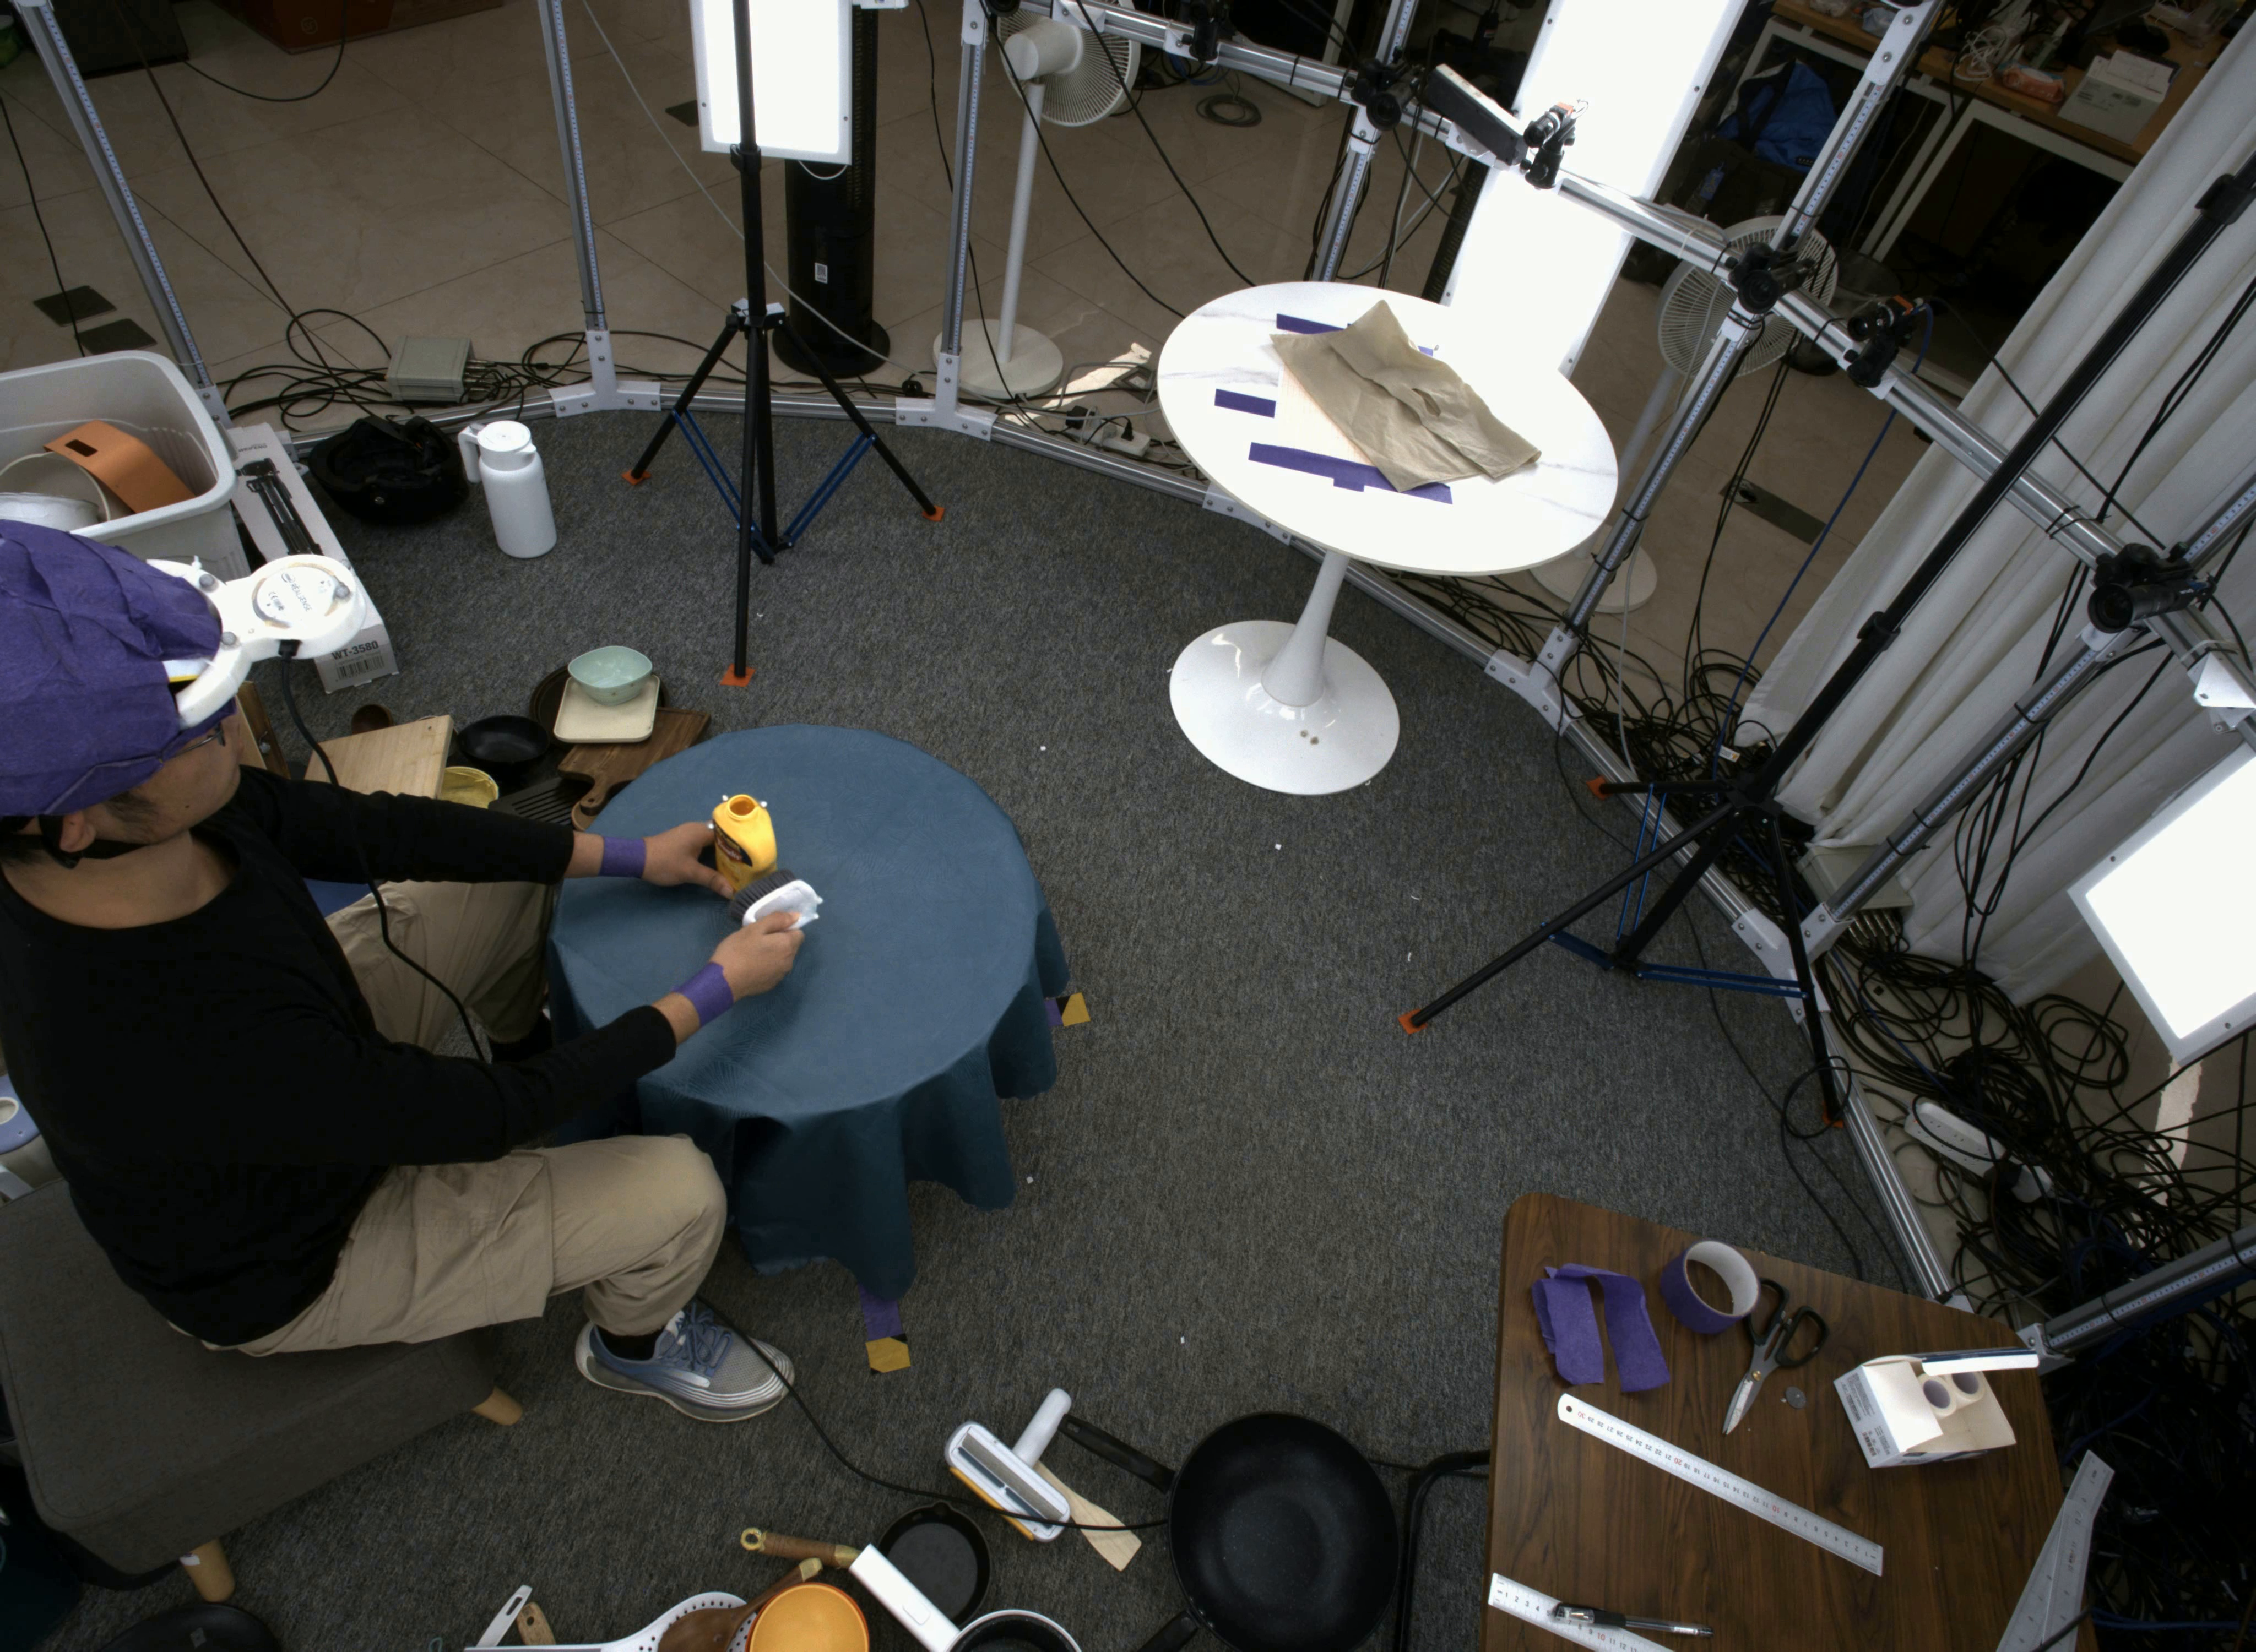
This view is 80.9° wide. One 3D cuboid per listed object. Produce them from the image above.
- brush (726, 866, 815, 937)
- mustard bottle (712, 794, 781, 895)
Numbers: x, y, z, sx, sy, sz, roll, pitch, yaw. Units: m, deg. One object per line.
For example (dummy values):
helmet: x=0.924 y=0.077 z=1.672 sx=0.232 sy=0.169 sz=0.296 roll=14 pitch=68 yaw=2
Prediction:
brush: x=-0.421 y=0.096 z=1.557 sx=0.070 sy=0.051 sz=0.099 roll=34 pitch=39 yaw=19
mustard bottle: x=-0.467 y=0.027 z=1.589 sx=0.096 sy=0.175 sz=0.059 roll=36 pitch=58 yaw=16
